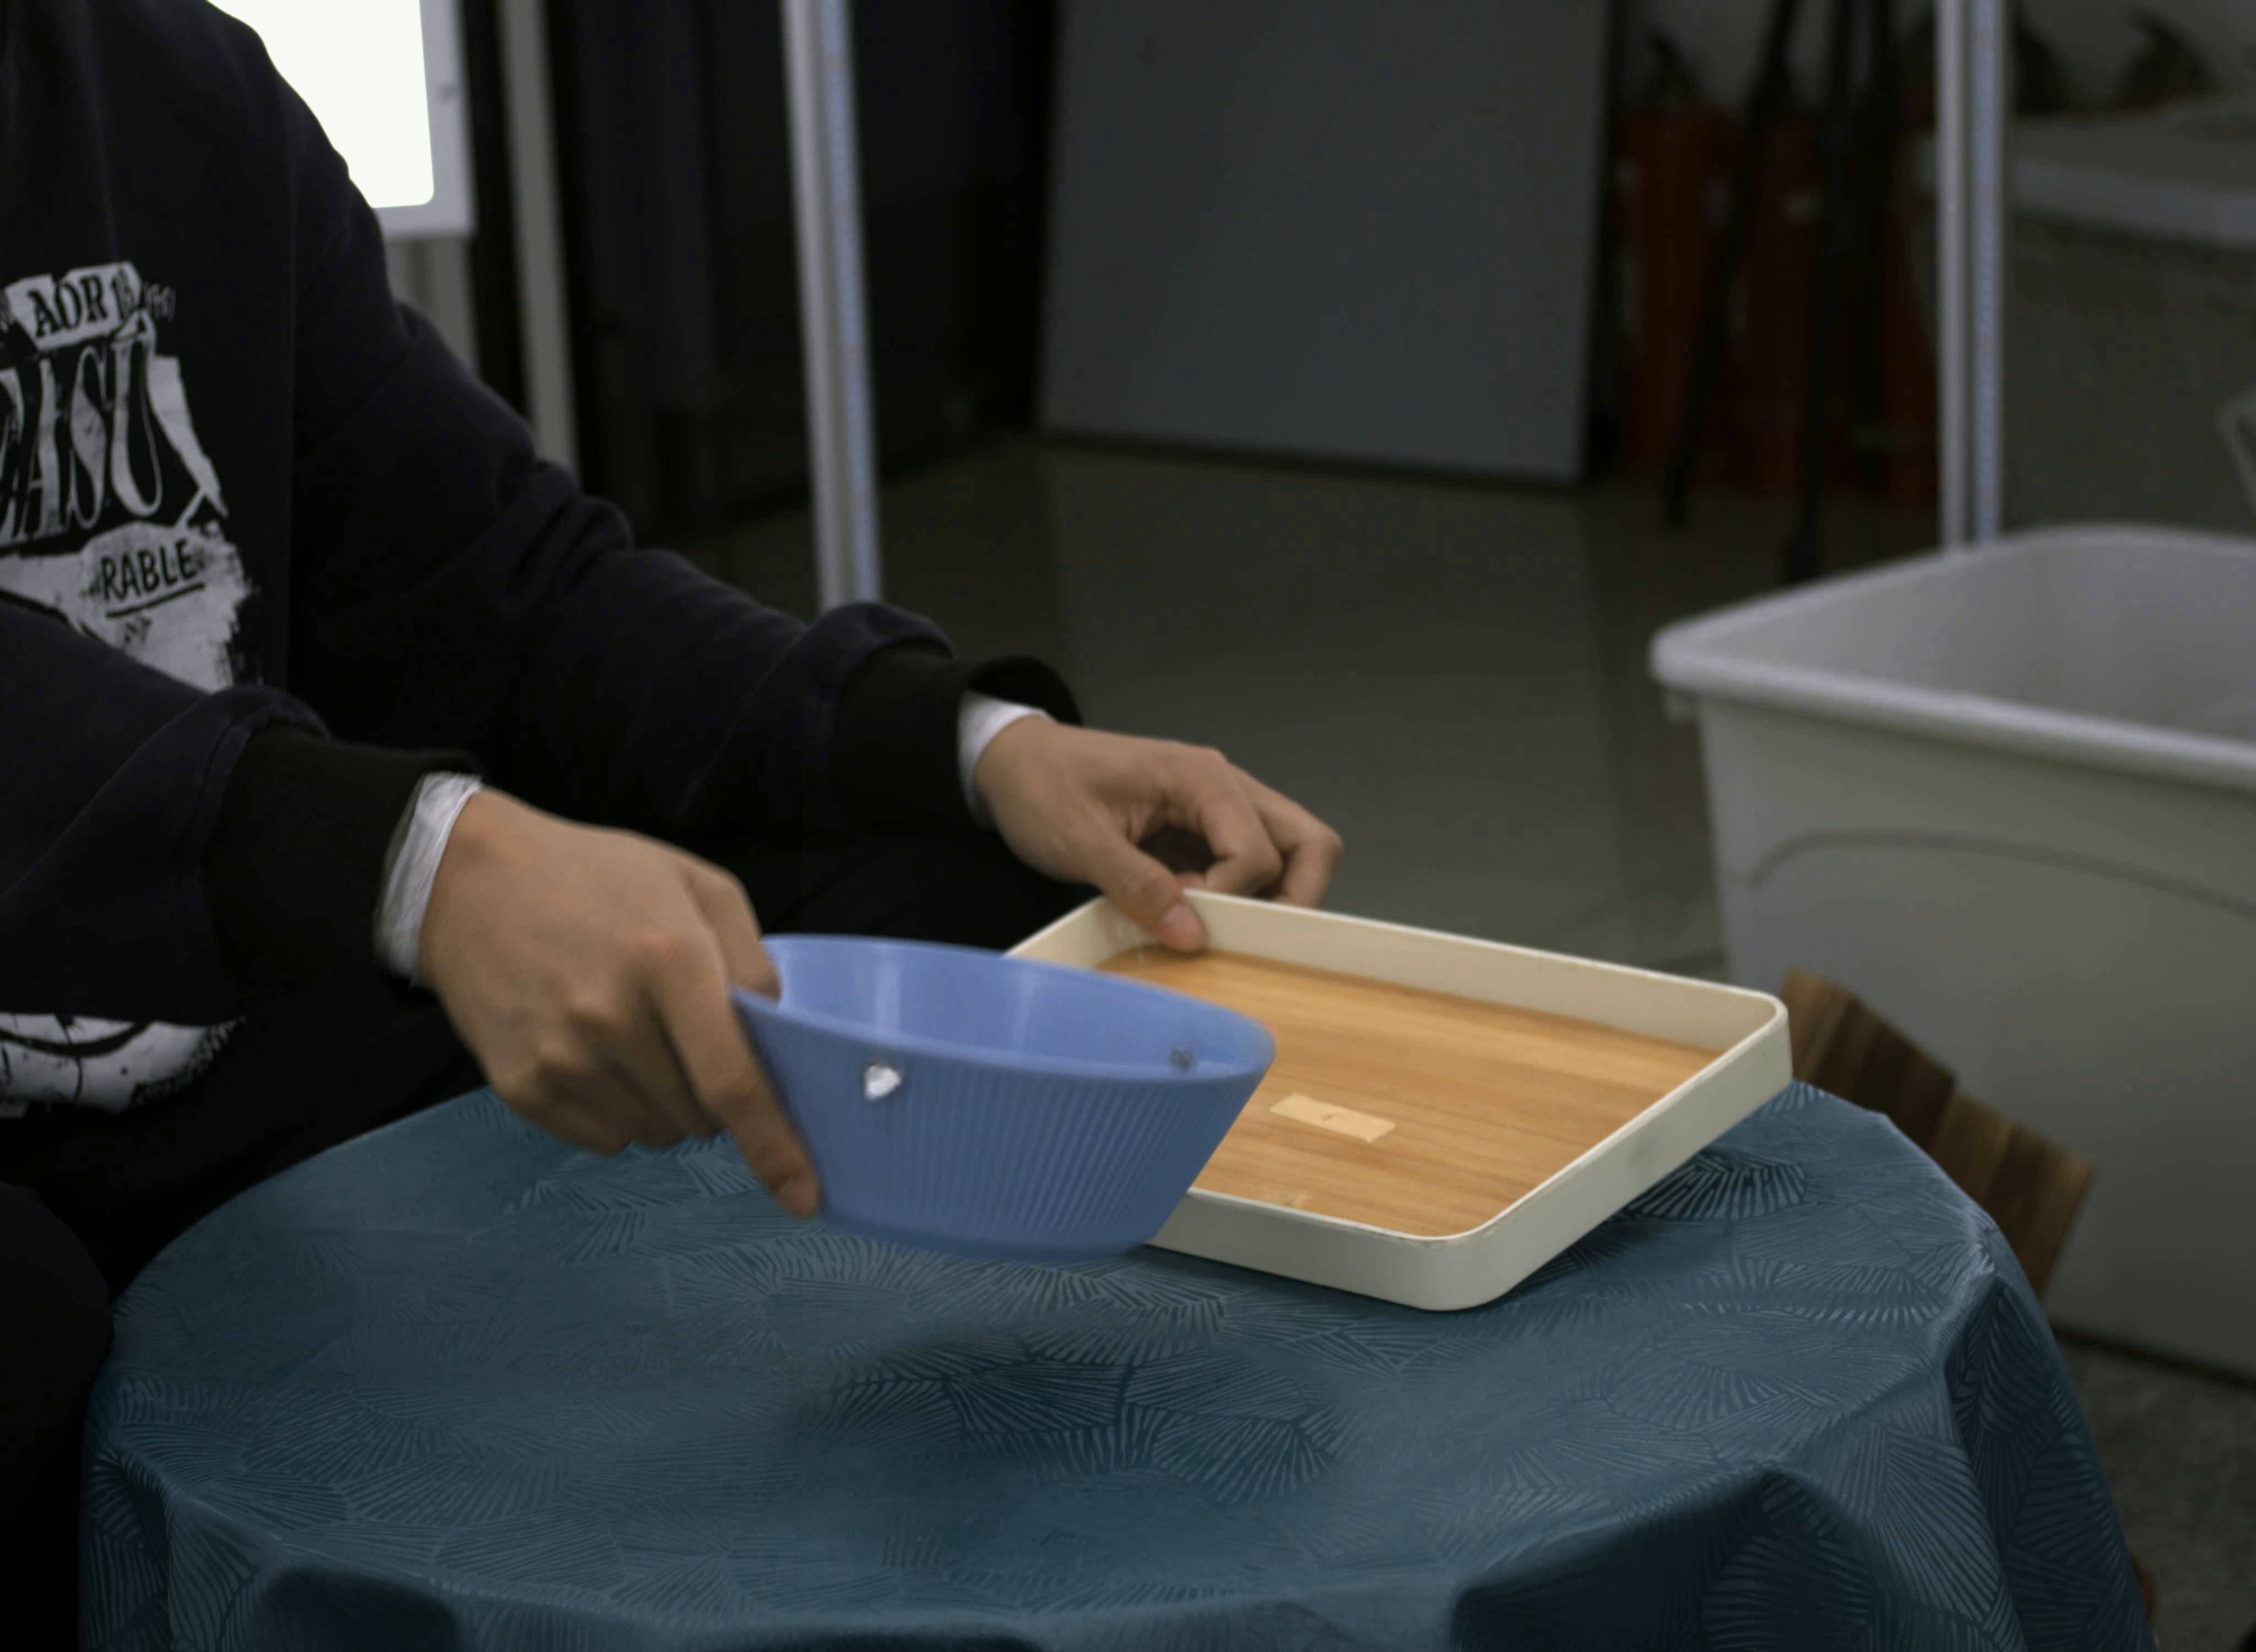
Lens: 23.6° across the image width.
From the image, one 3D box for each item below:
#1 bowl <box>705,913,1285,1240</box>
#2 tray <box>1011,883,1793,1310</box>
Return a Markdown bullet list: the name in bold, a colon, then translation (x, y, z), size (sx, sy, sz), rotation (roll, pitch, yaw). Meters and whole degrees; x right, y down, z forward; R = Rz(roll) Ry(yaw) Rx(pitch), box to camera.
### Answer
- **bowl**: translation (-0.044, 0.076, 1.598), size (0.174, 0.071, 0.176), rotation (9, 7, -2)
- **tray**: translation (0.052, 0.085, 1.782), size (0.303, 0.027, 0.188), rotation (9, 30, 42)
